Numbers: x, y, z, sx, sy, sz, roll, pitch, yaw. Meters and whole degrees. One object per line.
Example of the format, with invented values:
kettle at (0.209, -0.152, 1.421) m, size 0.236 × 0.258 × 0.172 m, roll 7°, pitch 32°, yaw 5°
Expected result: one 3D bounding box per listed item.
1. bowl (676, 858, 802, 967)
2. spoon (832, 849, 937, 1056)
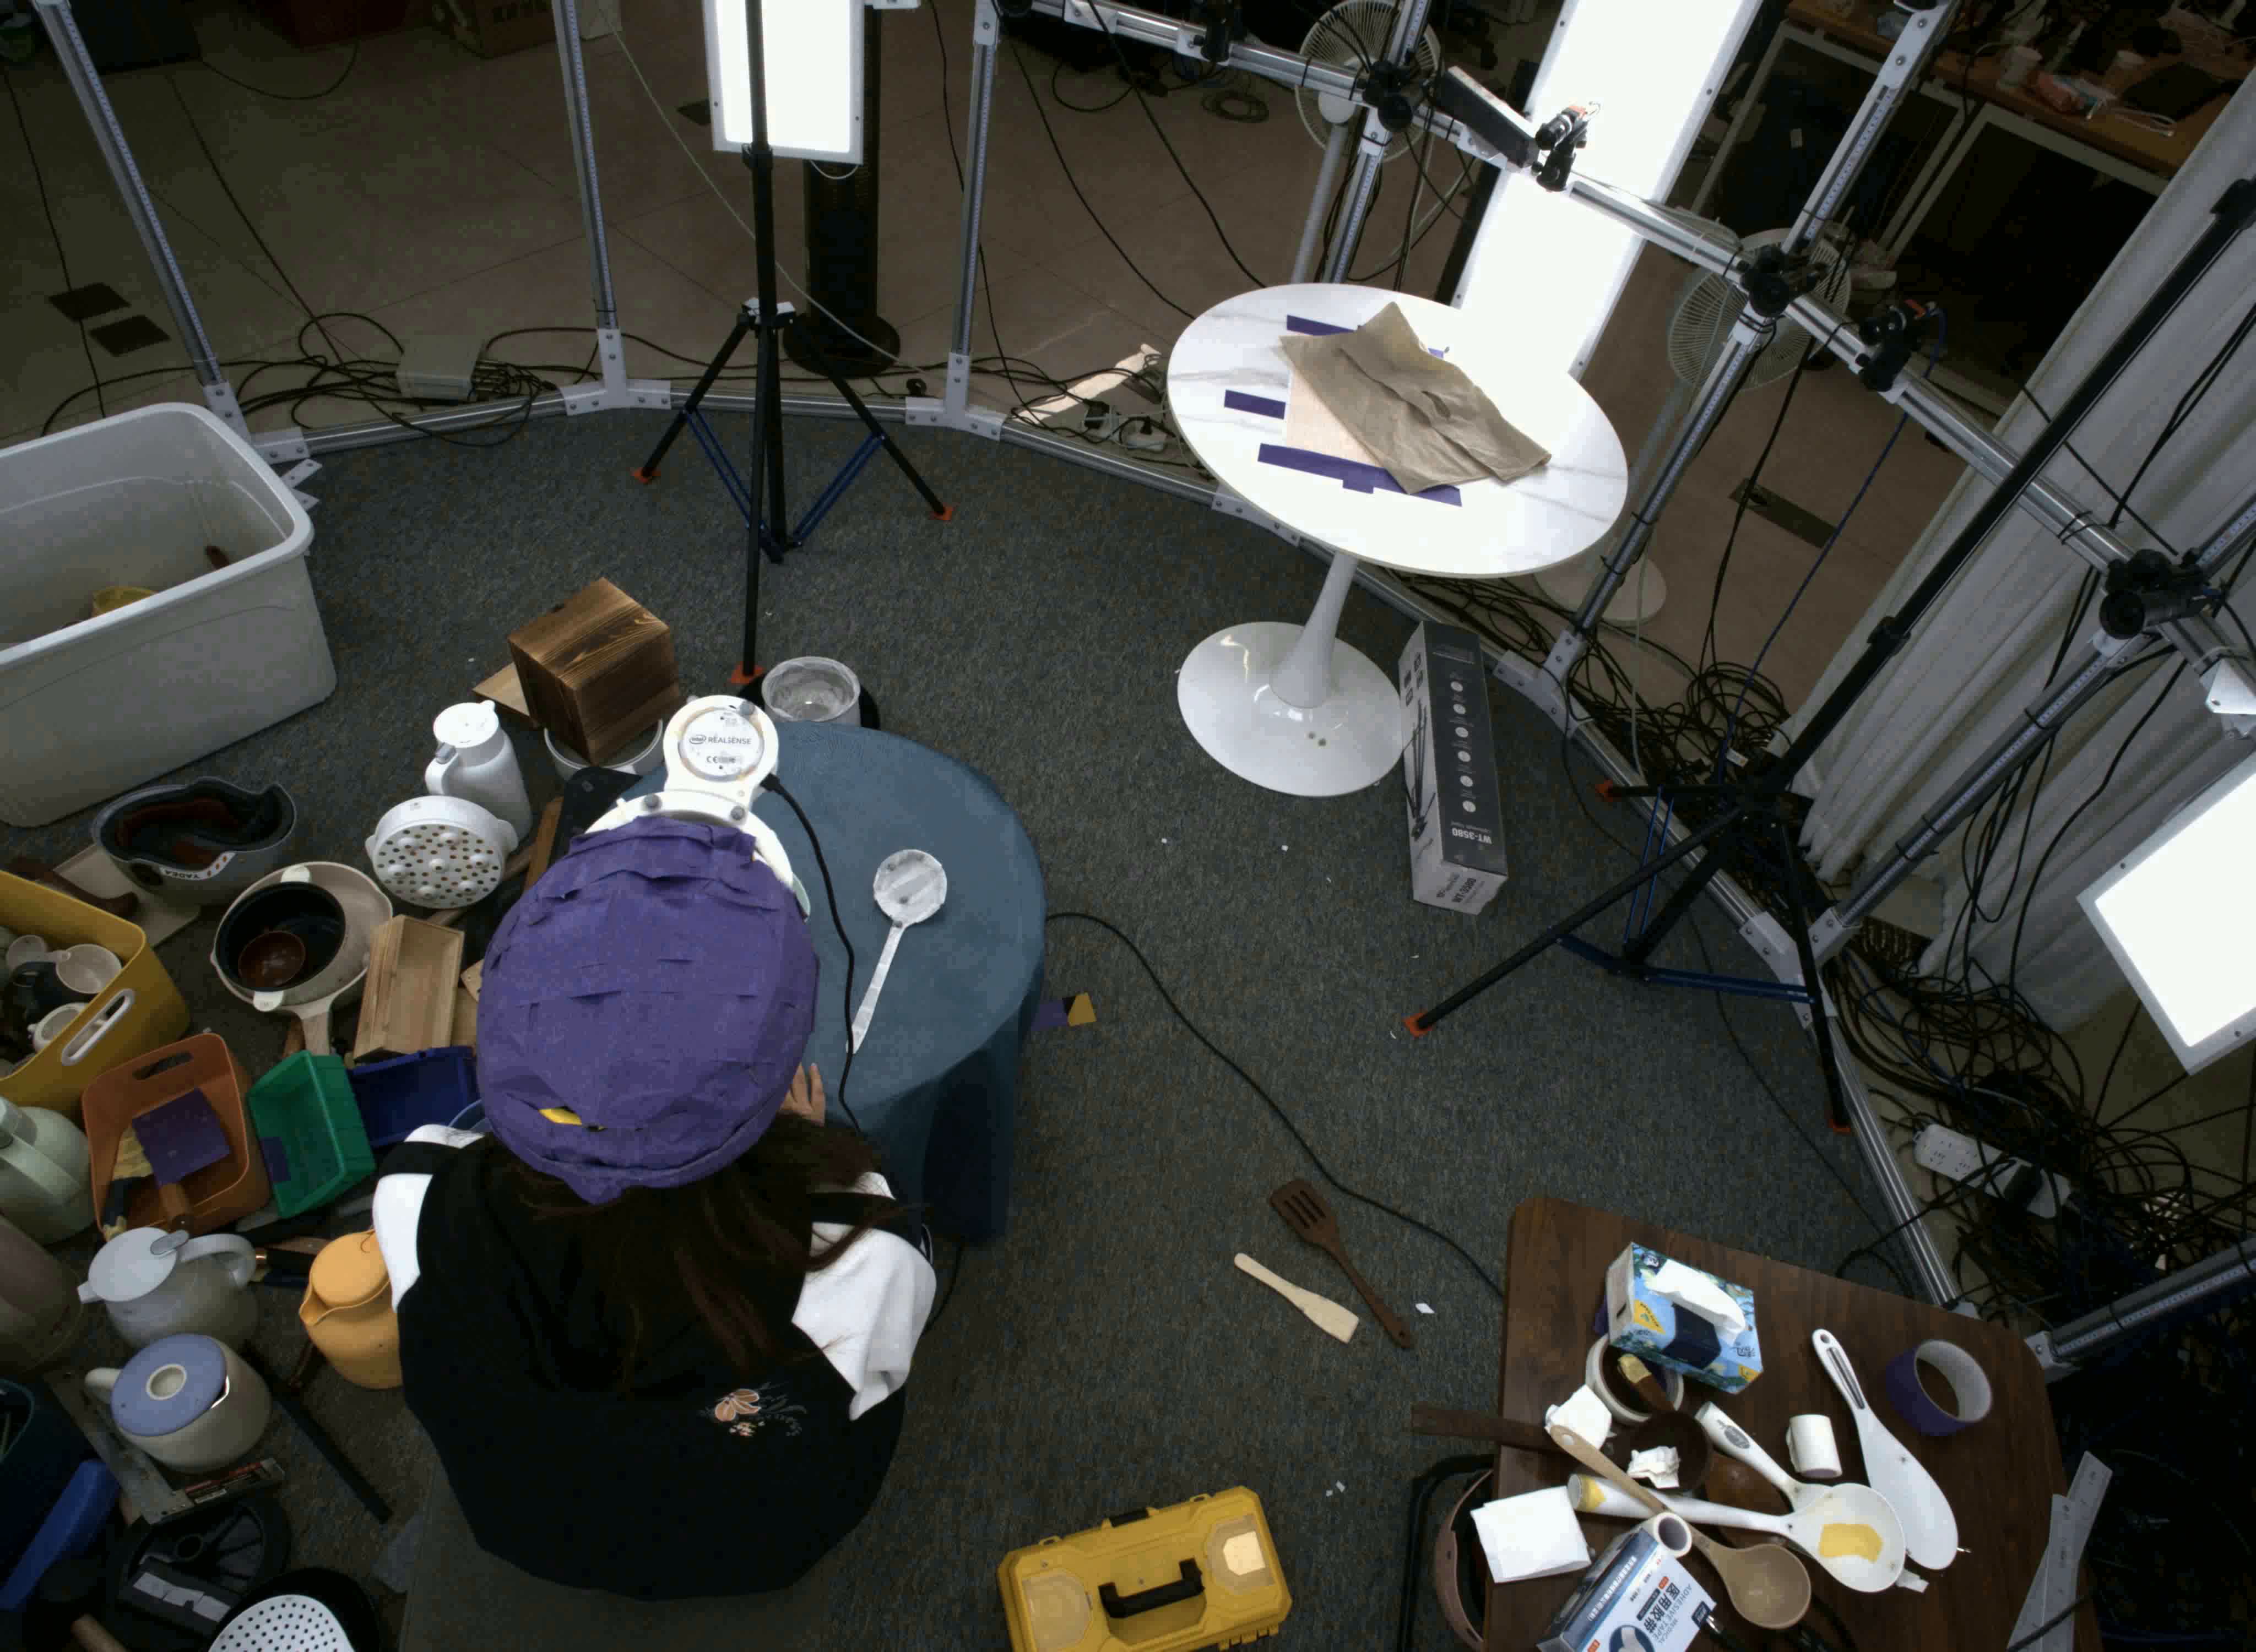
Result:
bowl at (-0.475, 0.114, 1.586) m, size 0.151 × 0.060 × 0.149 m, roll 8°, pitch 52°, yaw -8°
spoon at (-0.316, 0.148, 1.599) m, size 0.099 × 0.061 × 0.274 m, roll 15°, pitch 51°, yaw 4°
